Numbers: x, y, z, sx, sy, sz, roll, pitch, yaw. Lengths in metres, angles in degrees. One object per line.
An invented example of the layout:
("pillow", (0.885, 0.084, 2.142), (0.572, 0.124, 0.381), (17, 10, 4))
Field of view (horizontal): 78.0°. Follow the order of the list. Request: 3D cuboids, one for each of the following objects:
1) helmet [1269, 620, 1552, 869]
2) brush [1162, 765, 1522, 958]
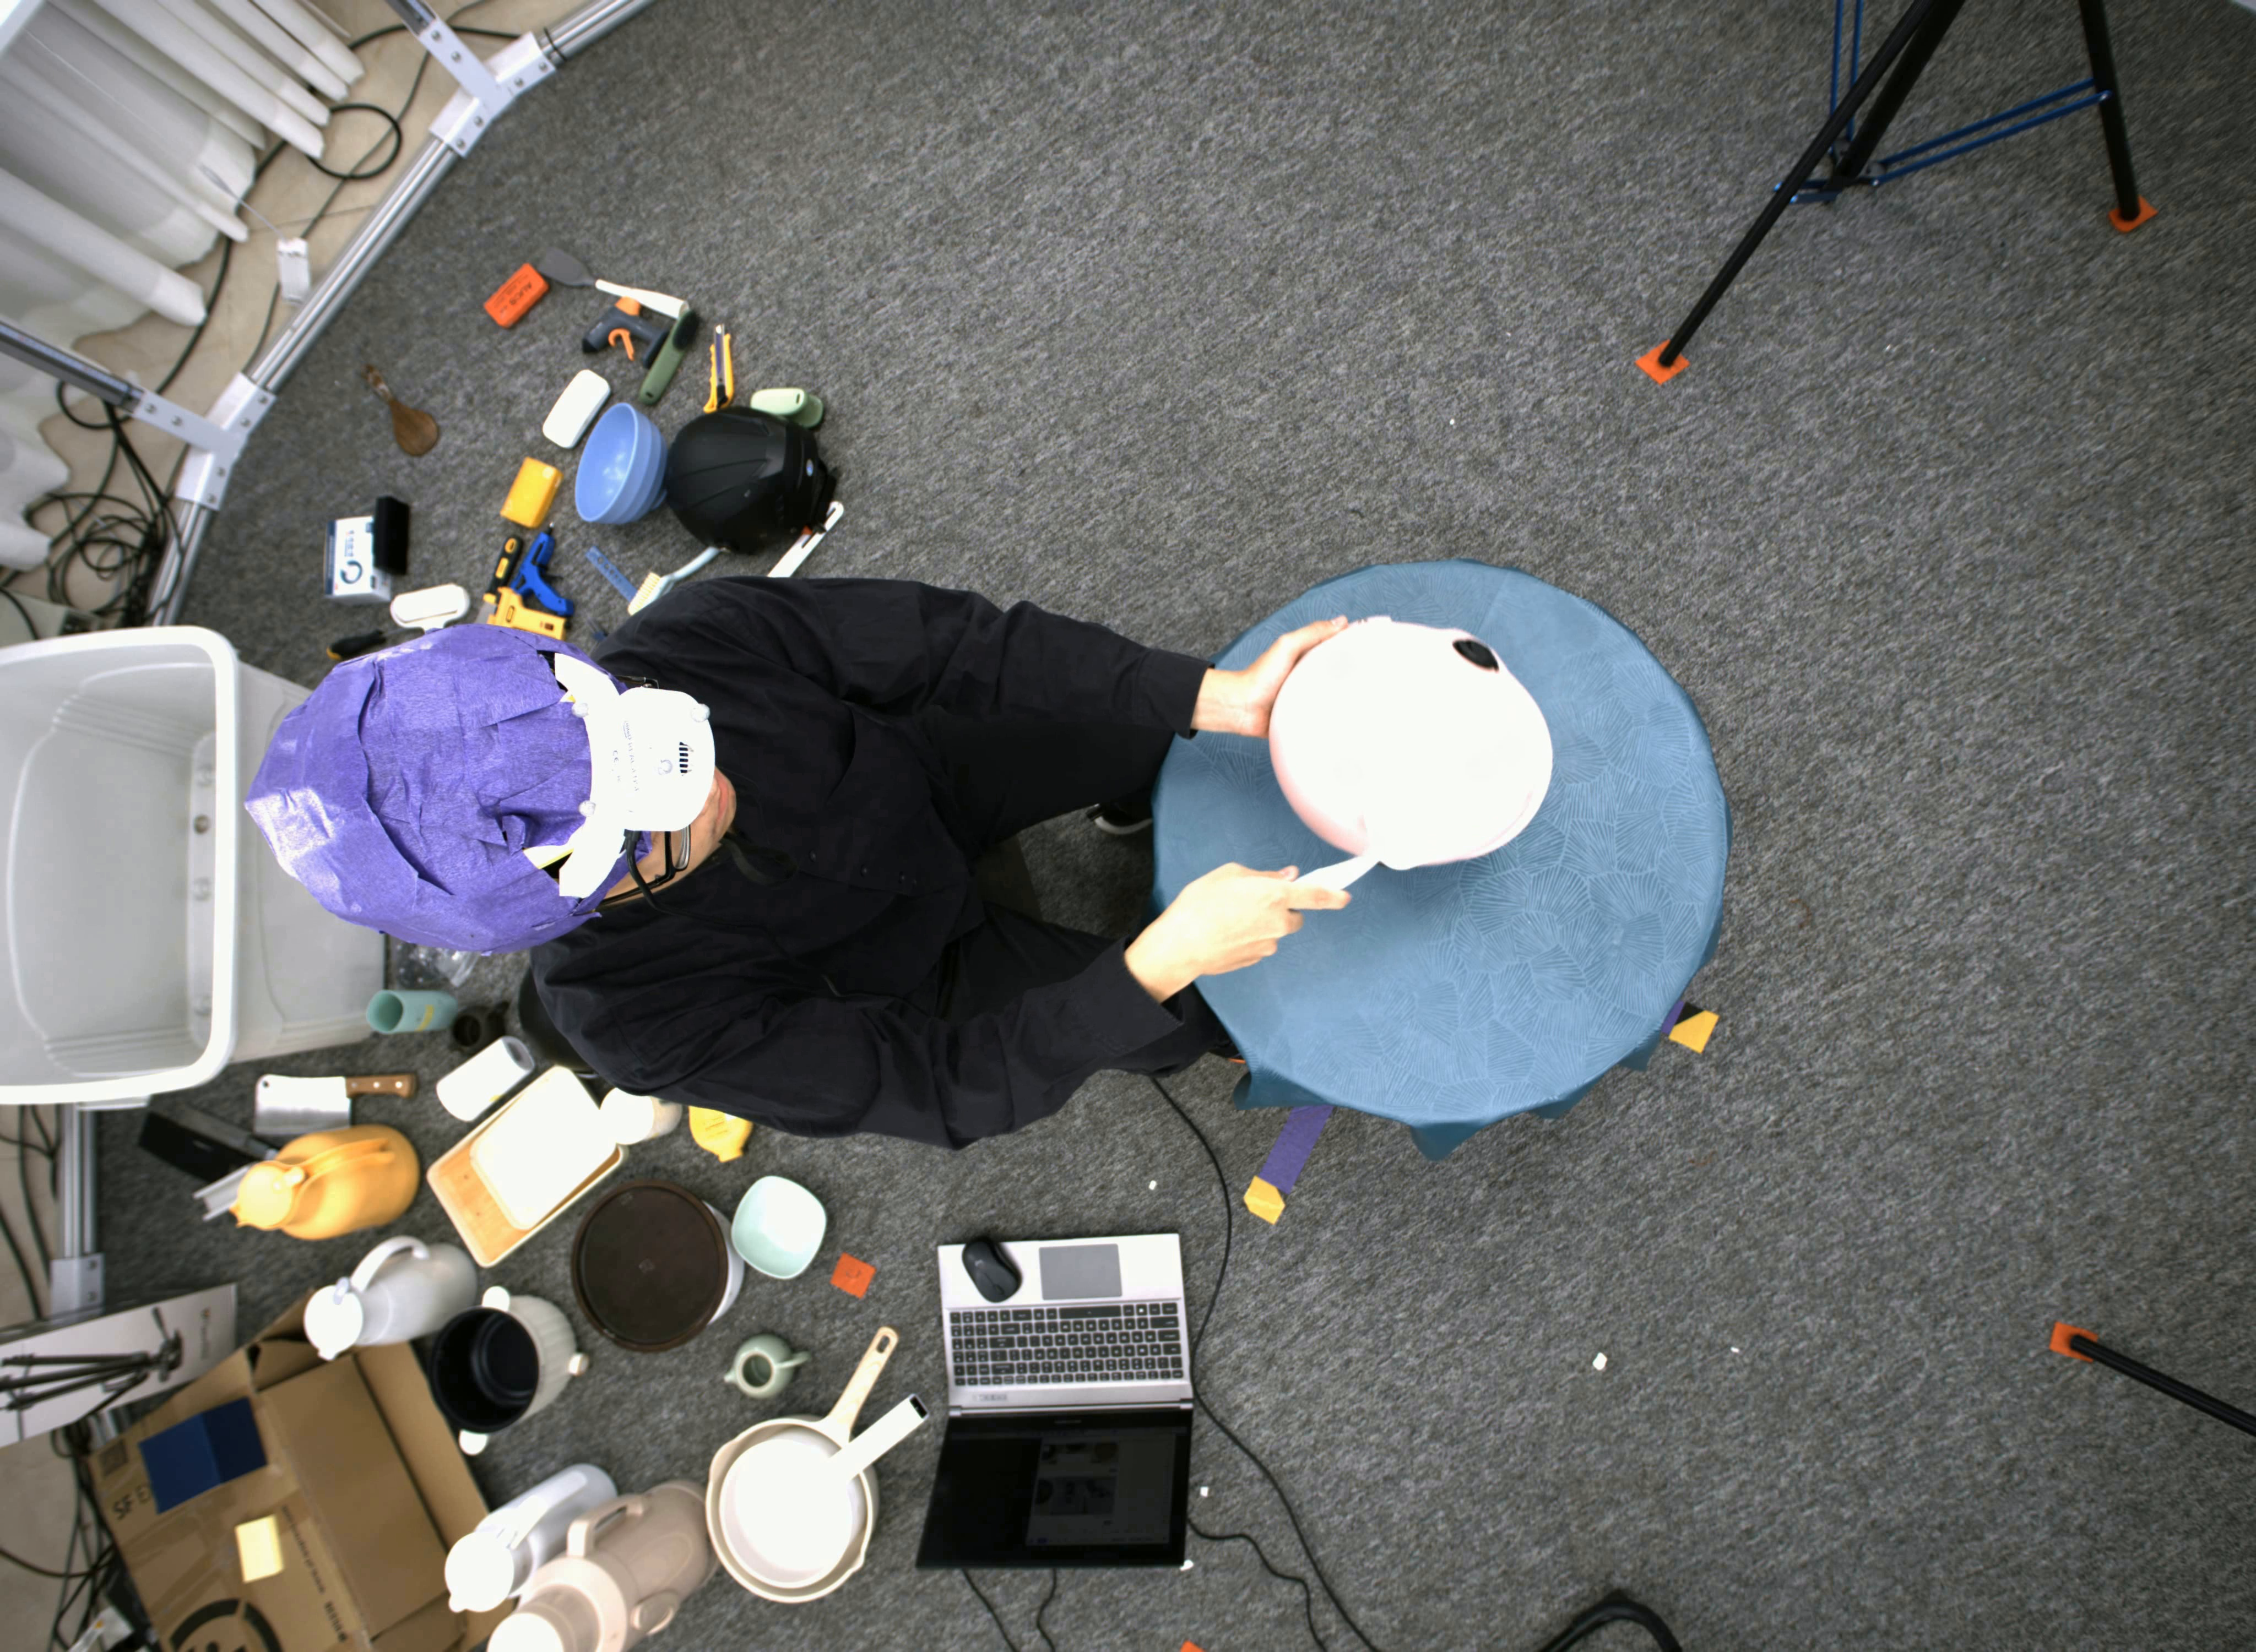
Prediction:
("helmet", (0.245, -0.062, 1.252), (0.265, 0.156, 0.239), (25, 115, 14))
("brush", (0.175, 0.024, 1.170), (0.326, 0.085, 0.082), (-23, 73, 4))
